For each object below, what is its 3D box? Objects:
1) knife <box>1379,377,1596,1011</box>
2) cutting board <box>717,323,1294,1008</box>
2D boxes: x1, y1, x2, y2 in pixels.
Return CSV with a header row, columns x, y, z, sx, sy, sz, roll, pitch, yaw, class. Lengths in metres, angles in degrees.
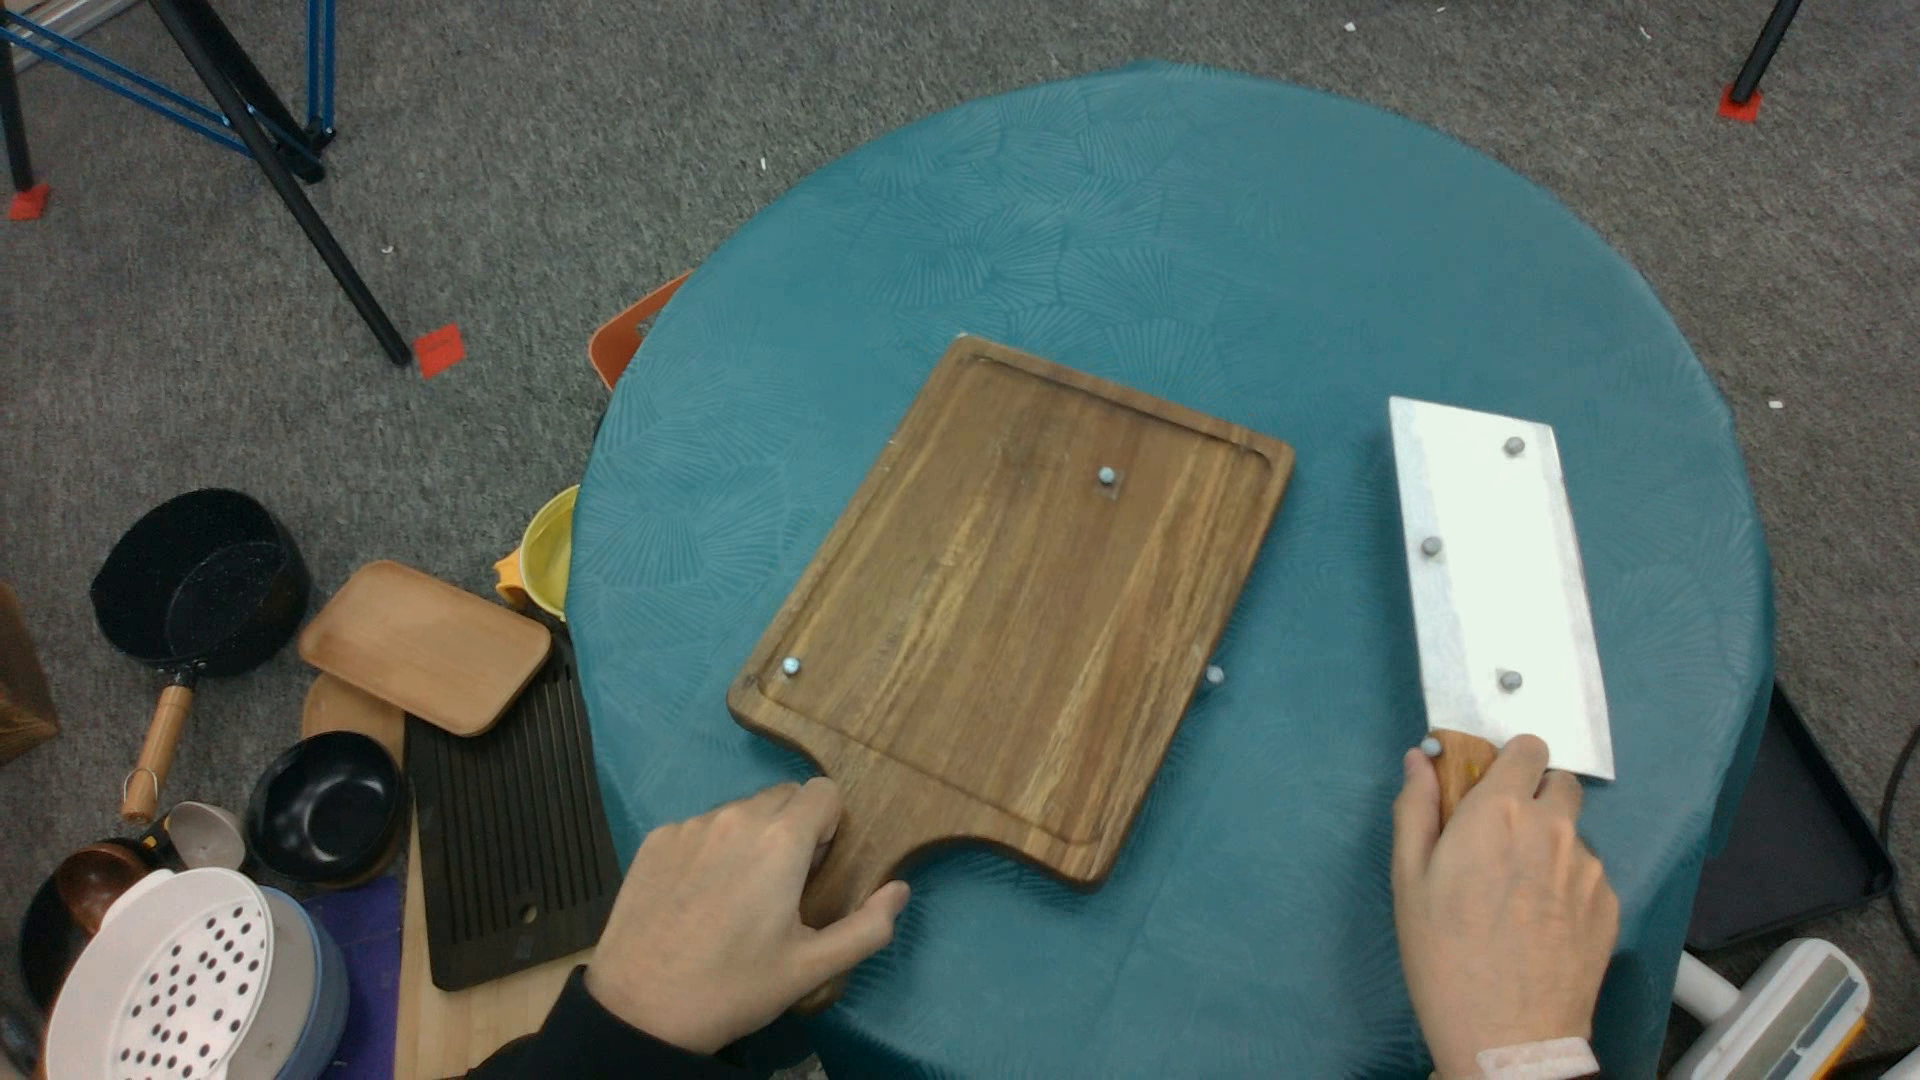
x,y,z,sx,sy,sz,roll,pitch,yaw,class
0.242,0.056,0.620,0.093,0.021,0.307,11,60,-13,knife
0.005,0.053,0.648,0.201,0.023,0.353,22,63,17,cutting board
